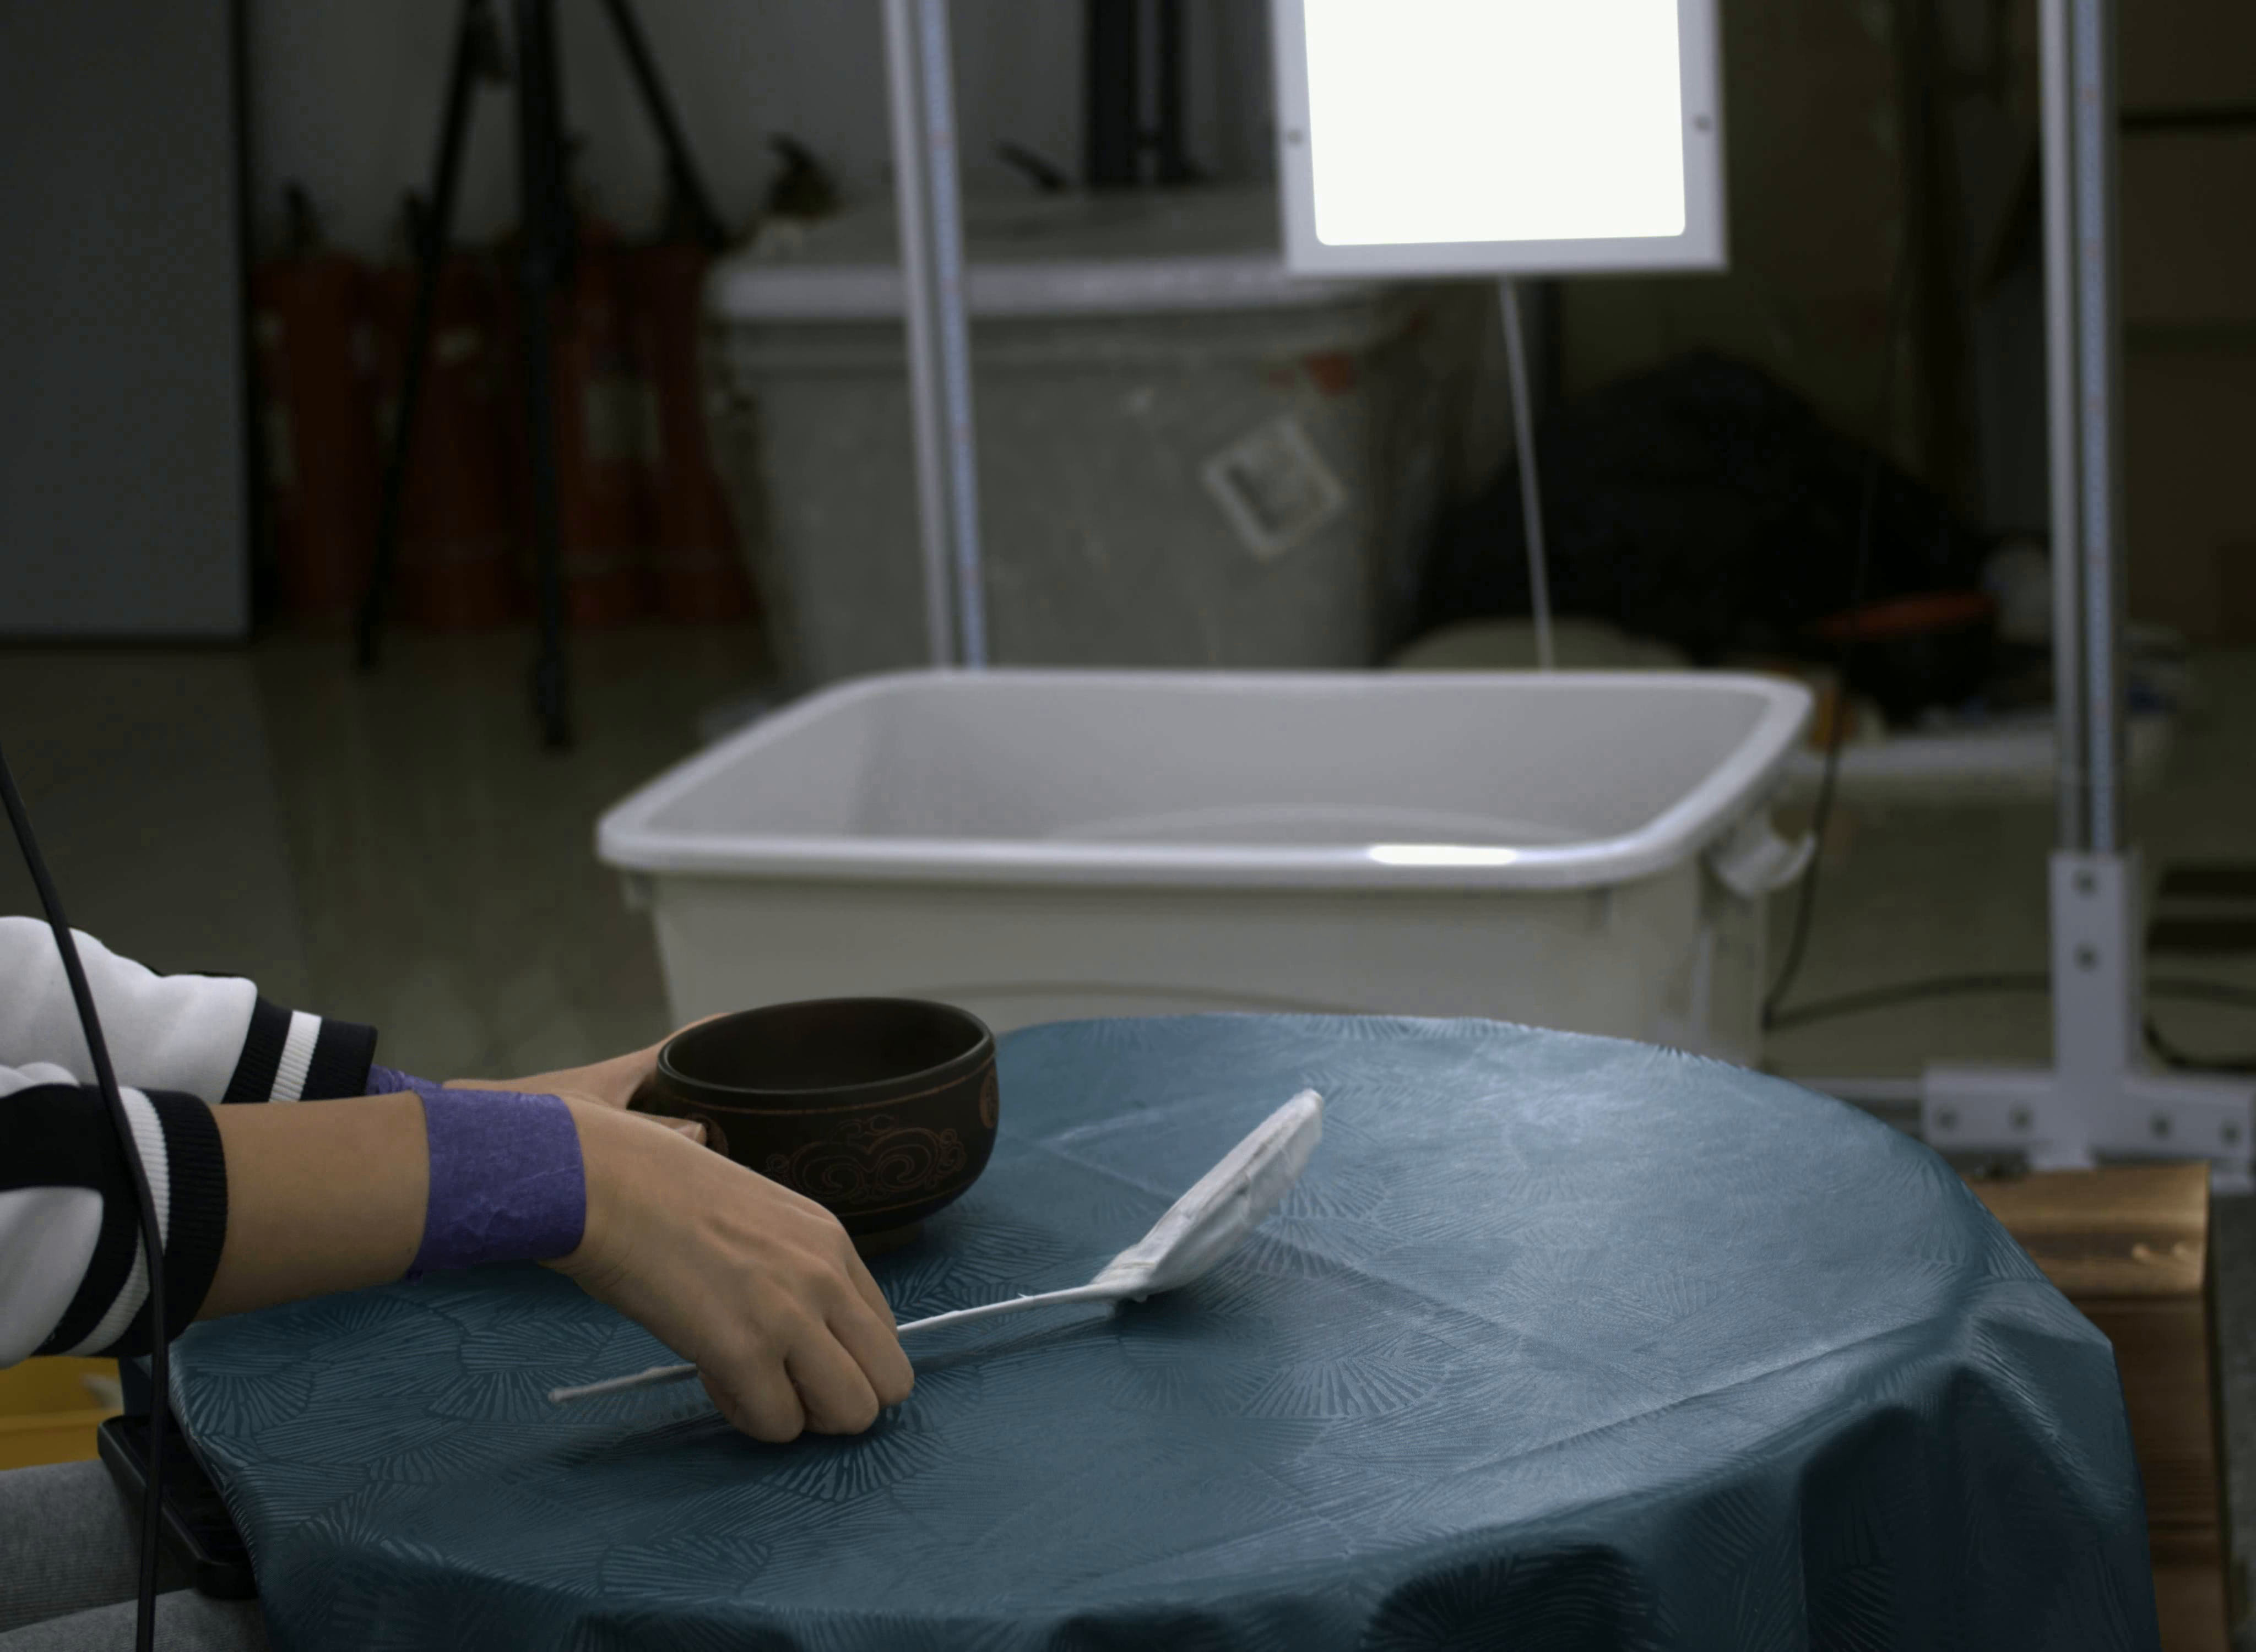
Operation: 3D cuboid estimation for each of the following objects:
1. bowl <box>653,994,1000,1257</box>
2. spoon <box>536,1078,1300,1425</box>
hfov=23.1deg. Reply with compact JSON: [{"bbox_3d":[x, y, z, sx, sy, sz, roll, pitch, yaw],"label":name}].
[{"bbox_3d":[-0.101,0.105,1.870,0.118,0.070,0.118,-5,13,0],"label":"bowl"},{"bbox_3d":[-0.065,0.136,1.756,0.272,0.059,0.102,-10,-21,-21],"label":"spoon"}]
